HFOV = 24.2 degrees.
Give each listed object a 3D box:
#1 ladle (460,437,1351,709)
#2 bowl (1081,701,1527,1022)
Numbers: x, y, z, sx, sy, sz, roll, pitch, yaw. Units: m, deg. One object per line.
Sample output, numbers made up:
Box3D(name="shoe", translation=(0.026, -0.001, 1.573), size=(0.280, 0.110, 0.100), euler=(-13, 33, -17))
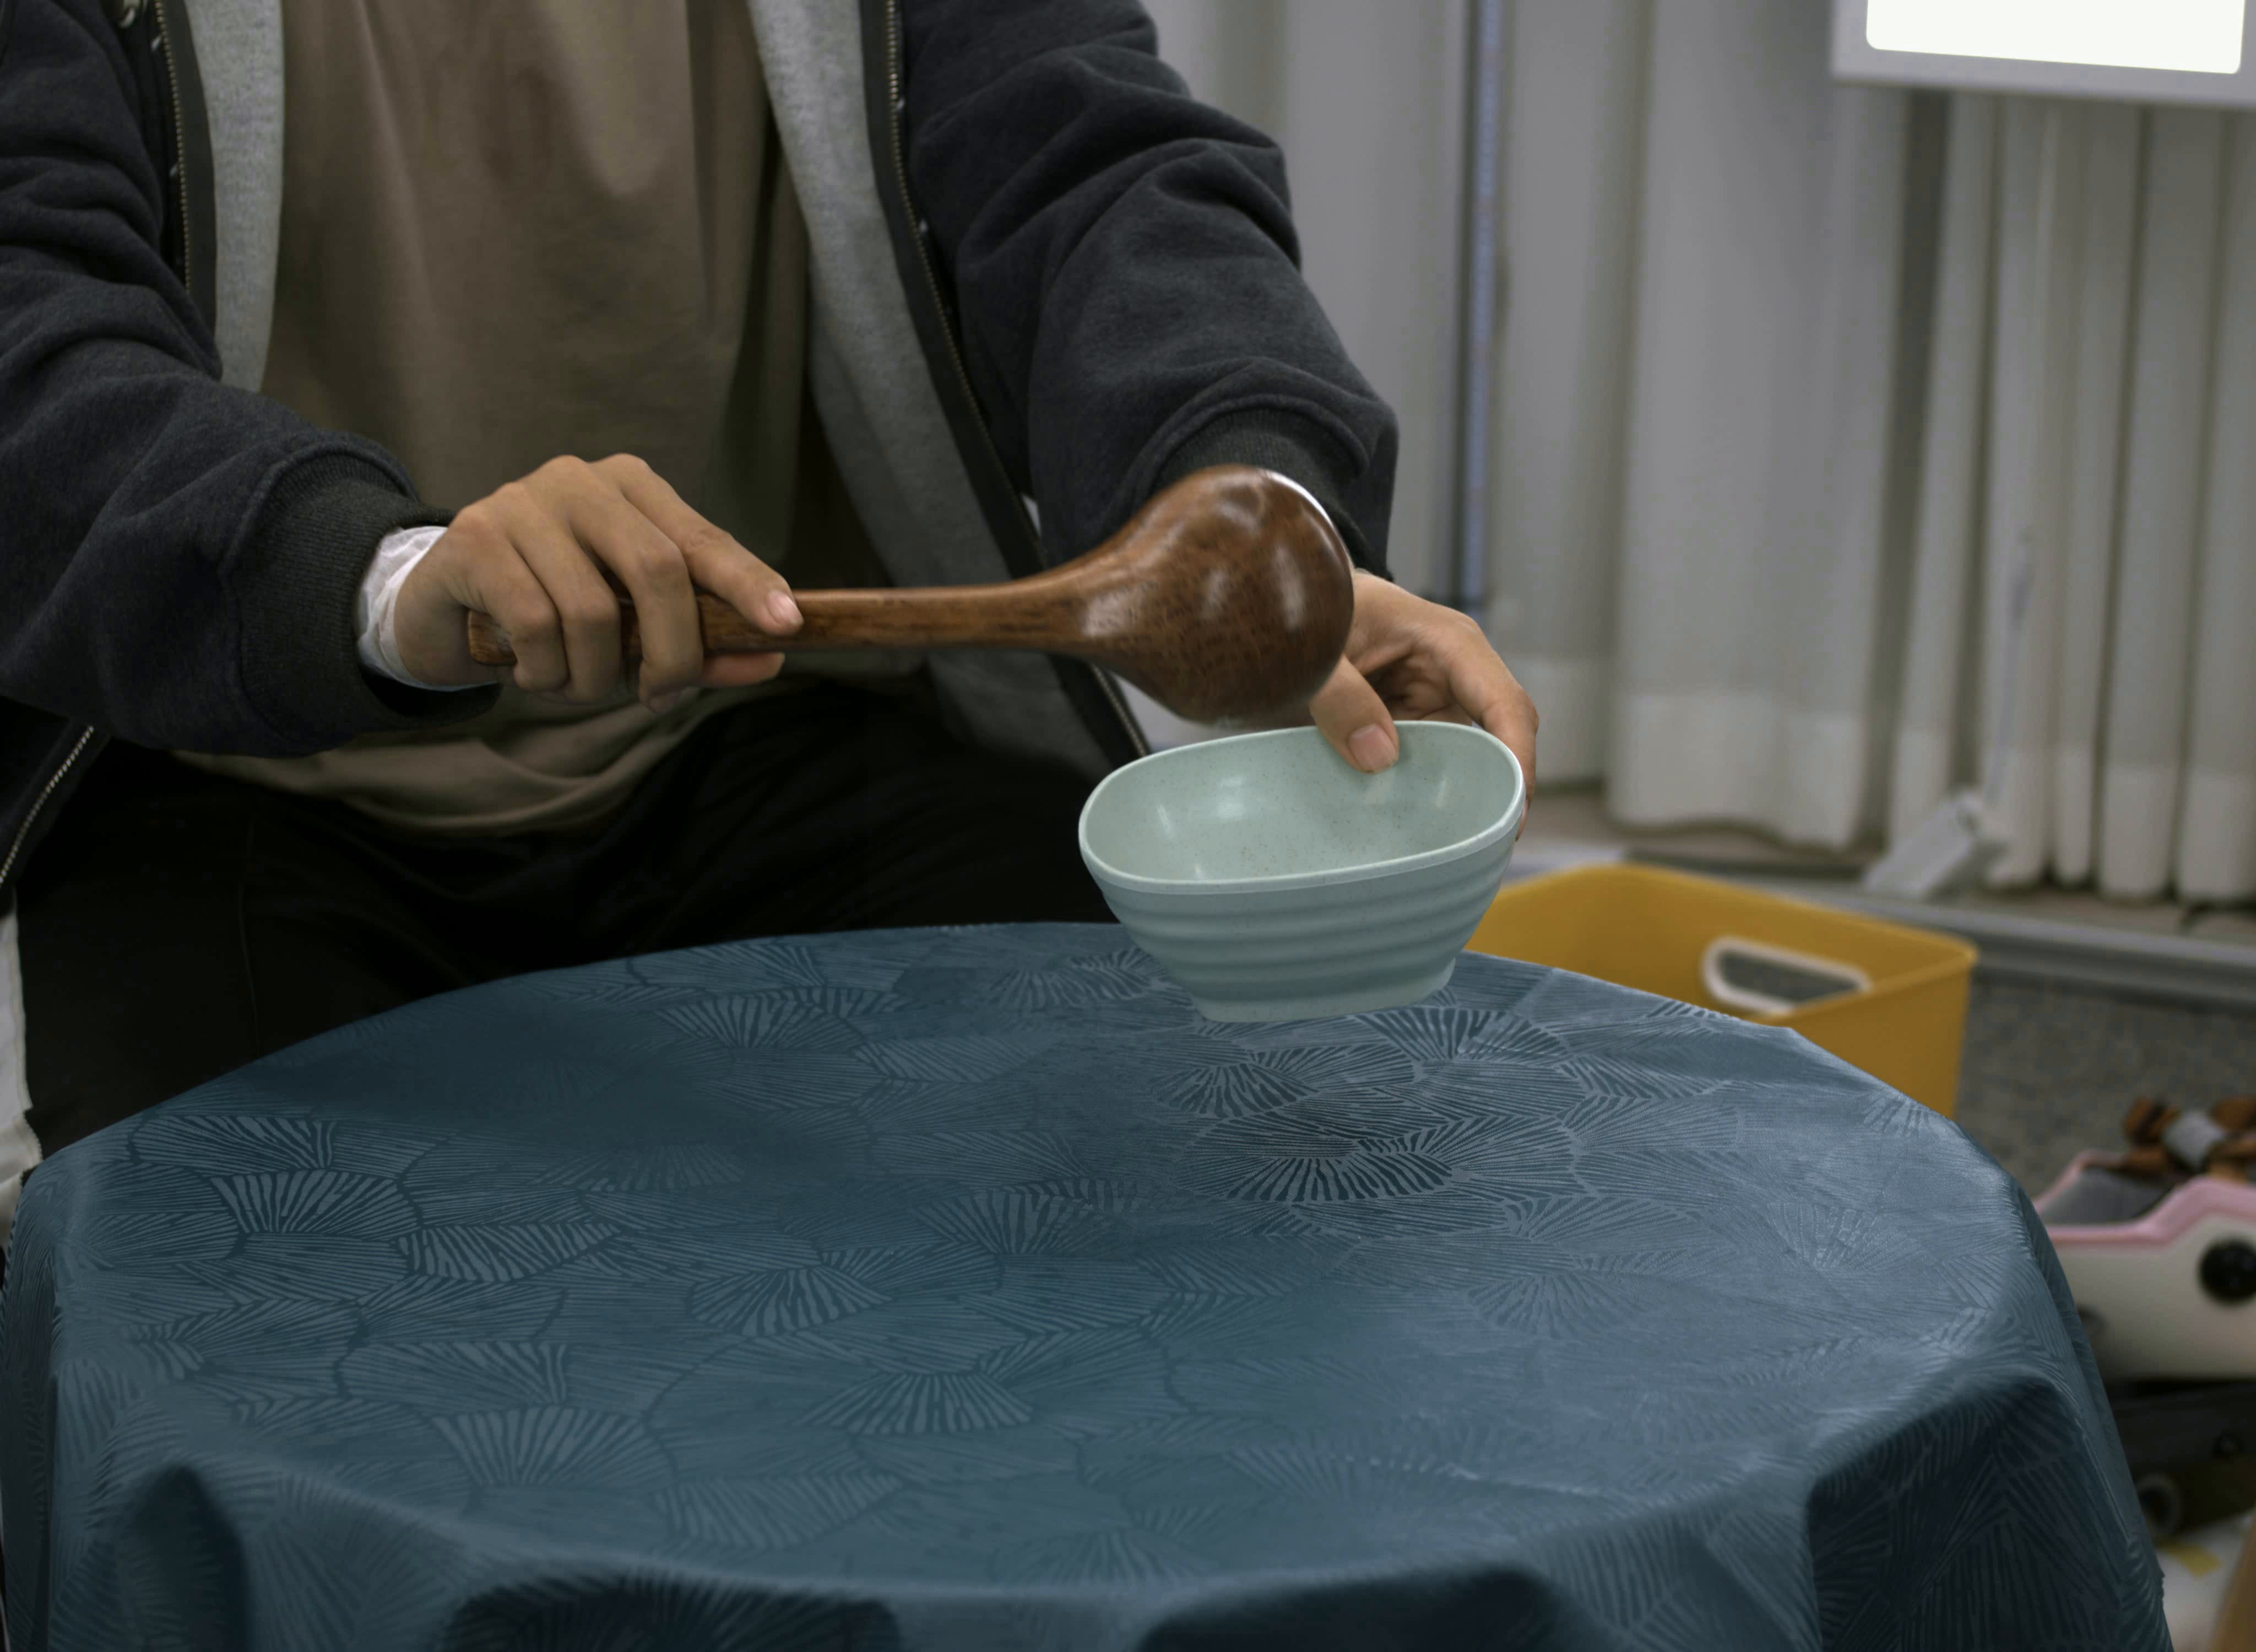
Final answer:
Box3D(name="ladle", translation=(-0.067, -0.071, 1.617), size=(0.272, 0.082, 0.077), euler=(-3, 6, 19))
Box3D(name="bowl", translation=(0.057, 0.016, 1.636), size=(0.151, 0.059, 0.150), euler=(-6, 24, 3))
